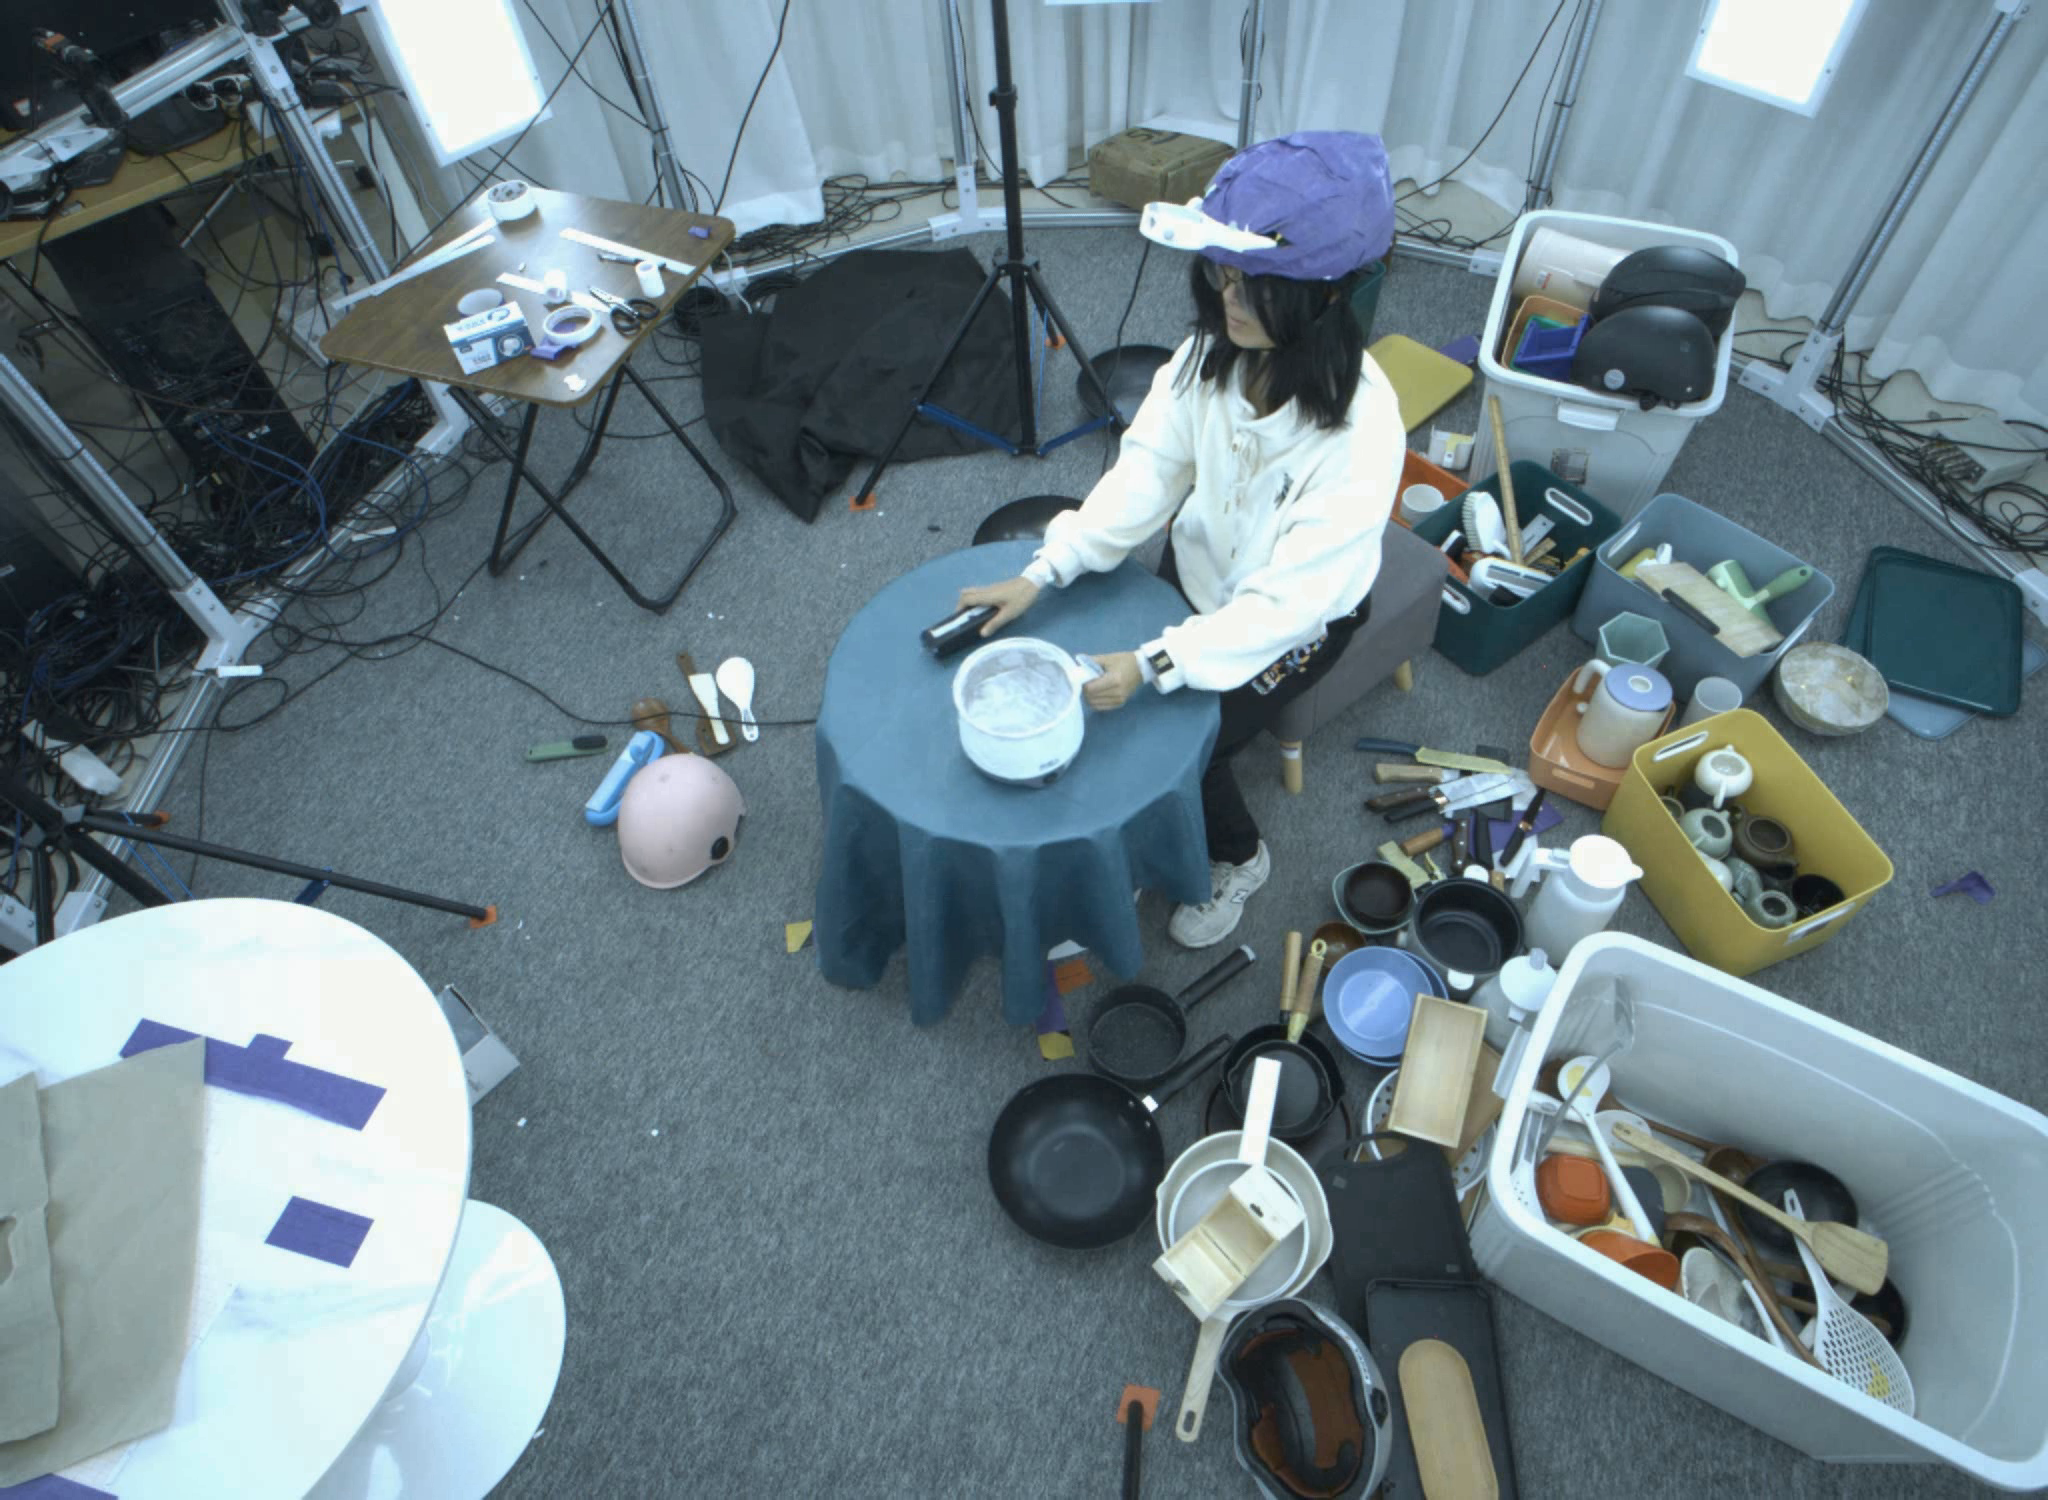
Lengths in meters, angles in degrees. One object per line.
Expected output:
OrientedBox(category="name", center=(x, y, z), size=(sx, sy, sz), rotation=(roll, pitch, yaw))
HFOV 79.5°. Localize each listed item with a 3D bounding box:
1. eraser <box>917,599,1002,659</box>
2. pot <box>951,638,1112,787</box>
OrientedBox(category="eraser", center=(-0.099, -0.188, 1.899), size=(0.126, 0.031, 0.052), rotation=(-29, 47, -18))
OrientedBox(category="pot", center=(0.018, -0.062, 1.745), size=(0.235, 0.138, 0.175), rotation=(-26, 58, -14))
